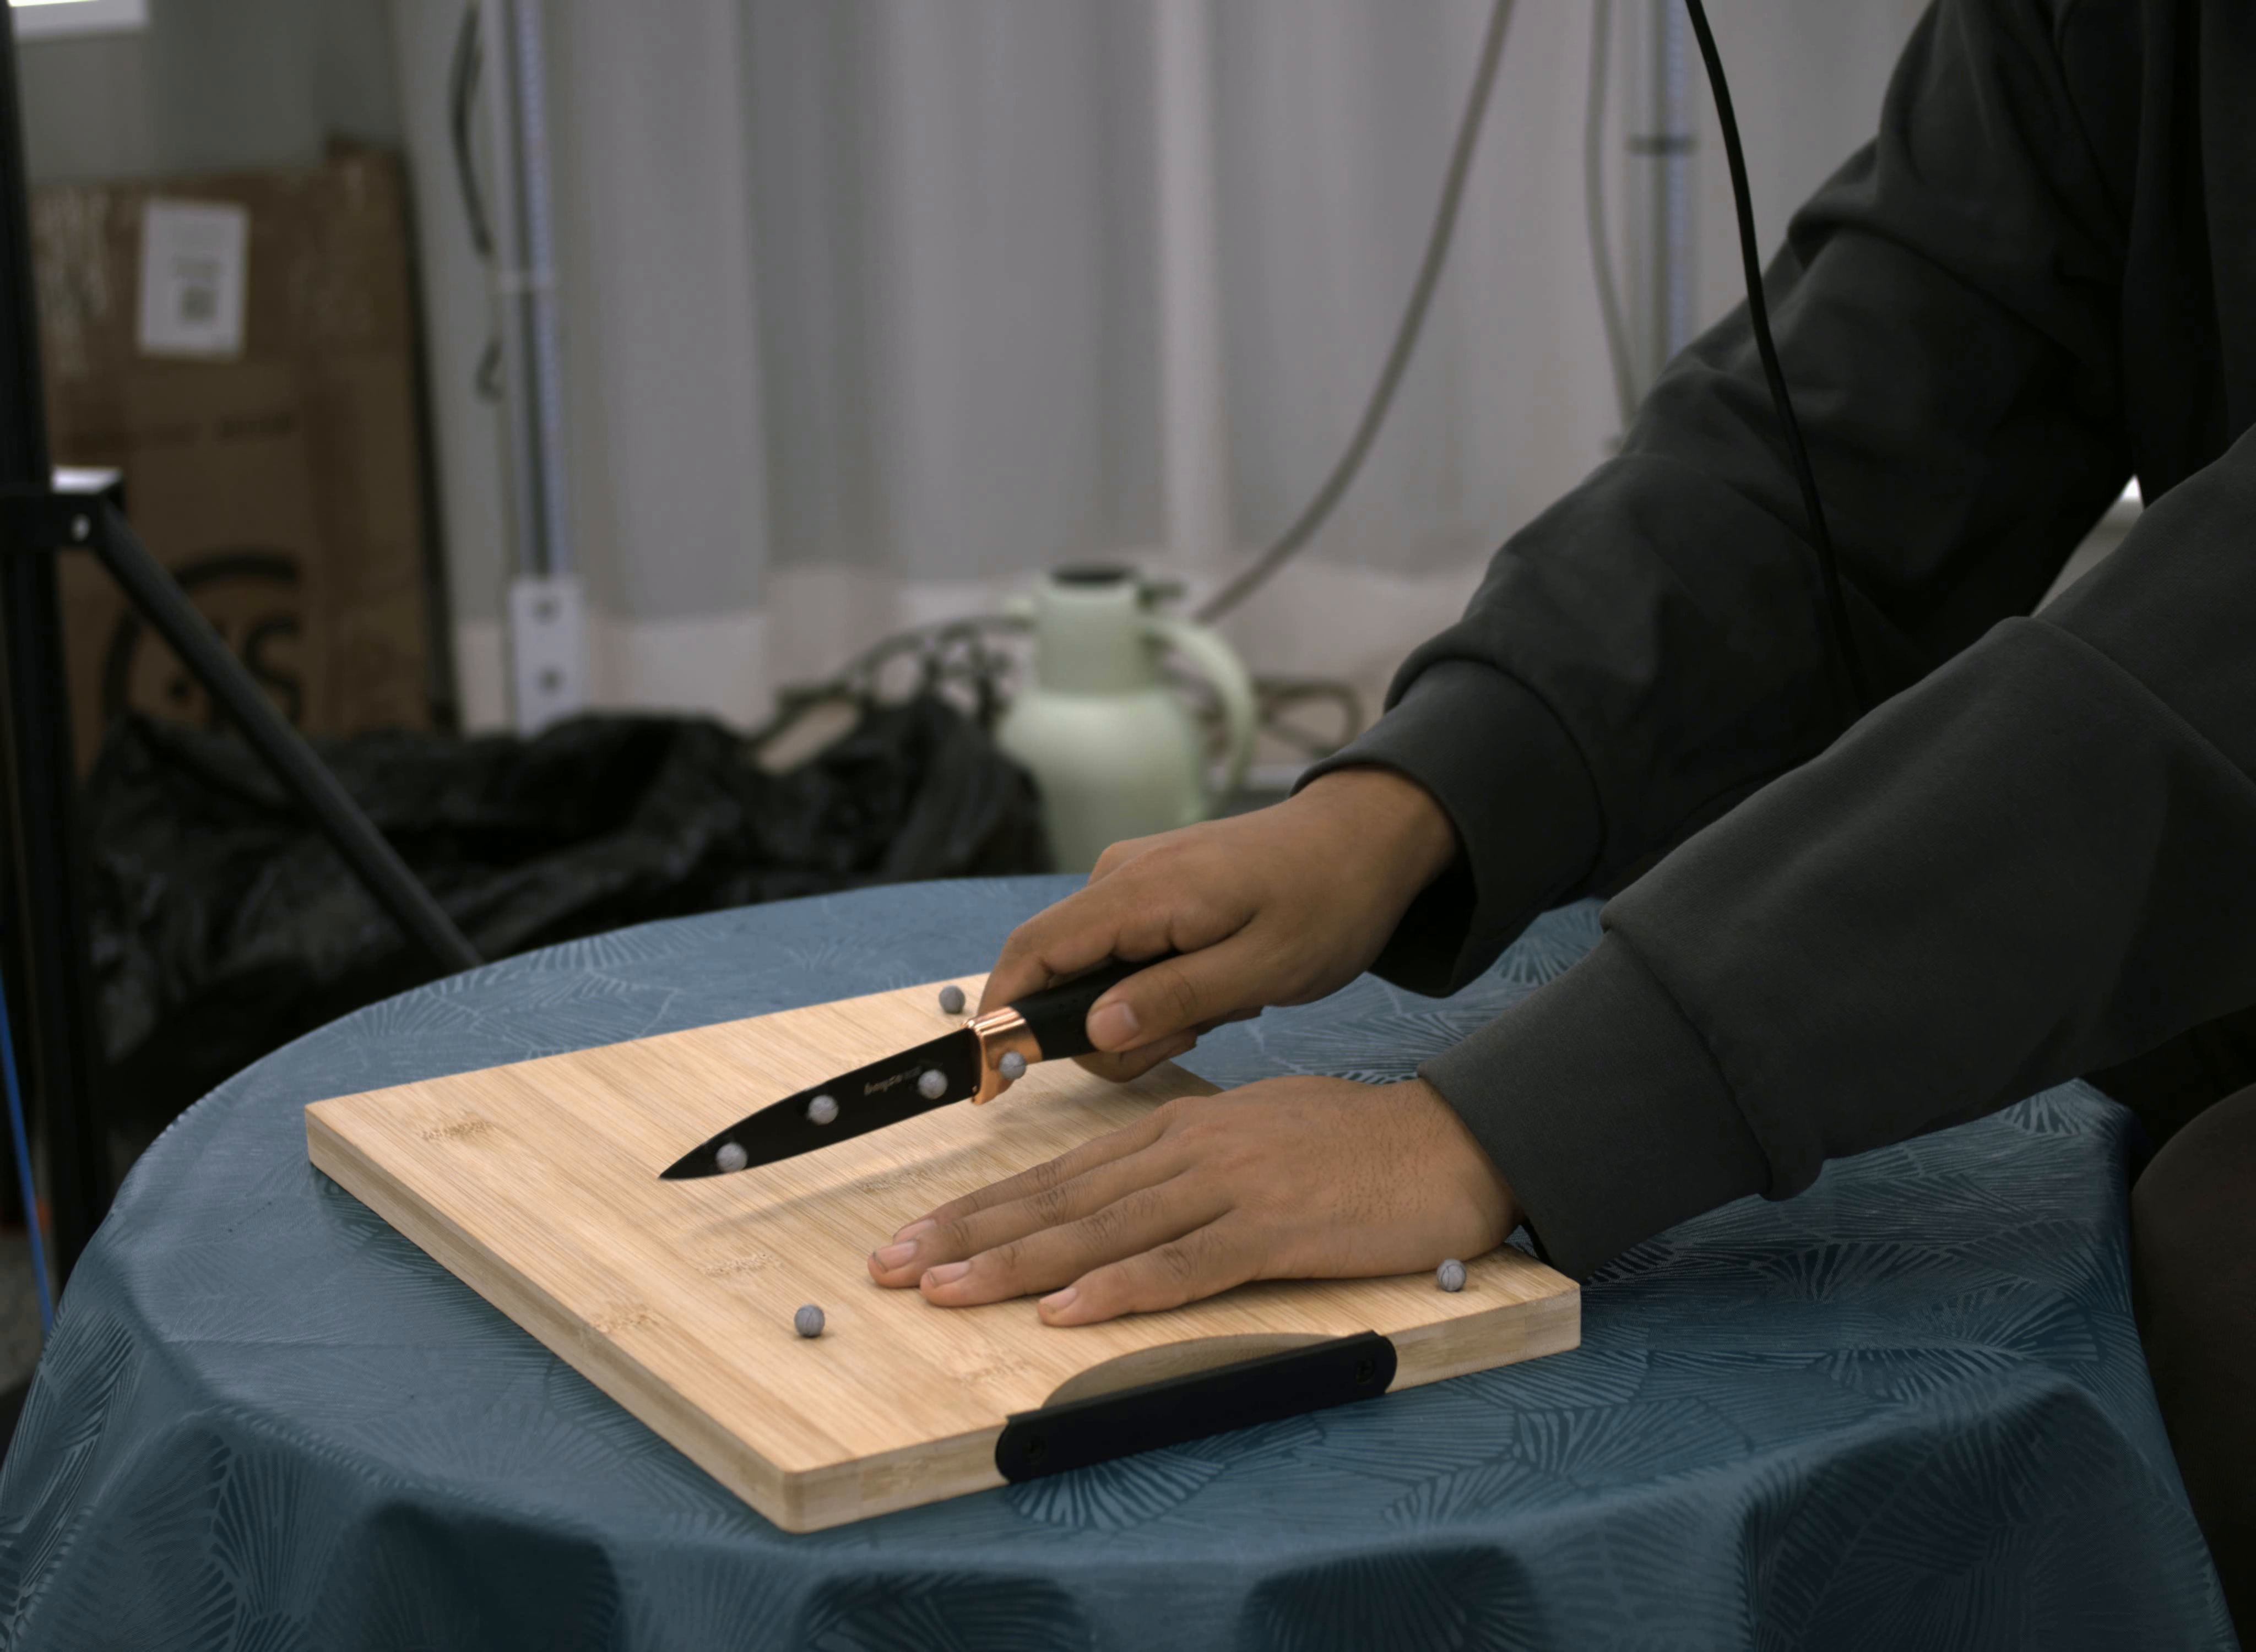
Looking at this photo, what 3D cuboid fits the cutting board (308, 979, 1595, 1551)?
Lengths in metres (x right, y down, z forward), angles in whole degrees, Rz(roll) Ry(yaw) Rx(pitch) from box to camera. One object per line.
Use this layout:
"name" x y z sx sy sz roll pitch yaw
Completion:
"cutting board" -0.060 0.115 1.513 0.245 0.023 0.356 -11 18 -27

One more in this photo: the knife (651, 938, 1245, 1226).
"knife" -0.049 0.073 1.551 0.221 0.026 0.017 -21 30 -36
